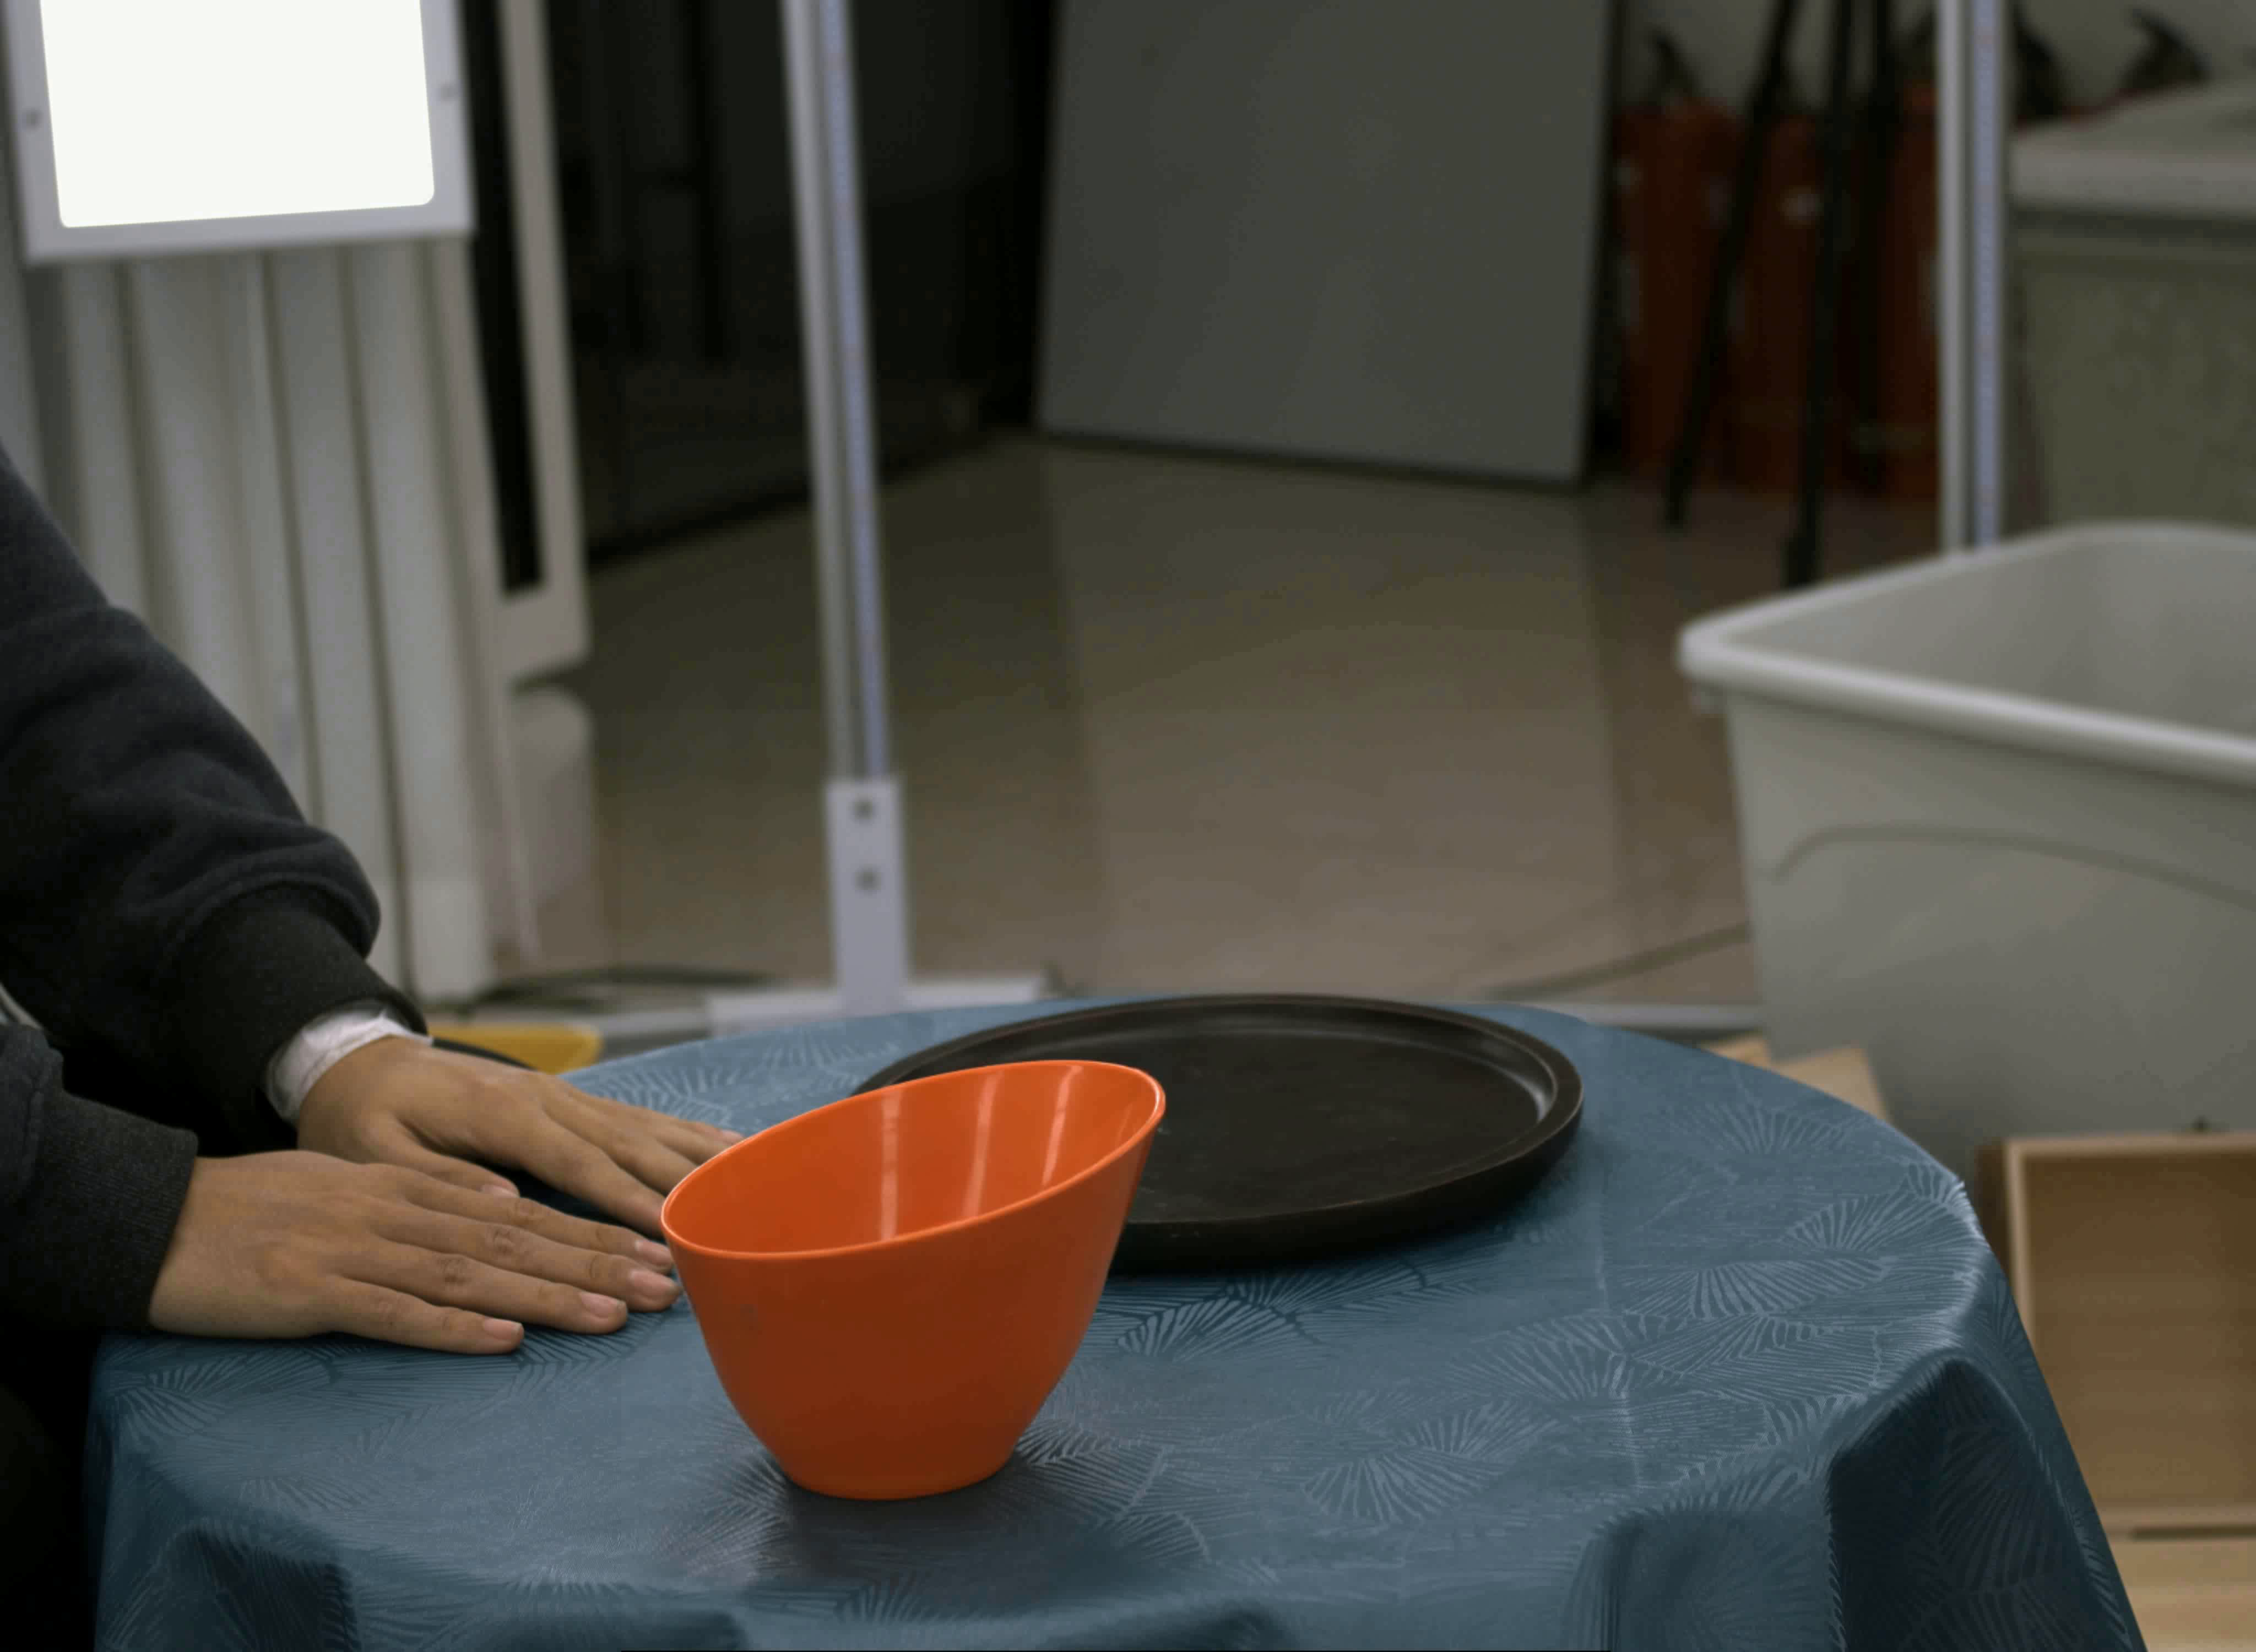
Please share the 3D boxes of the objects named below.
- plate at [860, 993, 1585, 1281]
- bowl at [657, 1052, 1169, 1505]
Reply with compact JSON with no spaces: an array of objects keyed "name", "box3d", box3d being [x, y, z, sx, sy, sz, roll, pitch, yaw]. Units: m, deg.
[{"name":"plate","box3d":[0.027,0.102,1.790,0.251,0.029,0.255,-4,15,0]},{"name":"bowl","box3d":[-0.058,0.131,1.529,0.146,0.106,0.148,-3,16,0]}]
